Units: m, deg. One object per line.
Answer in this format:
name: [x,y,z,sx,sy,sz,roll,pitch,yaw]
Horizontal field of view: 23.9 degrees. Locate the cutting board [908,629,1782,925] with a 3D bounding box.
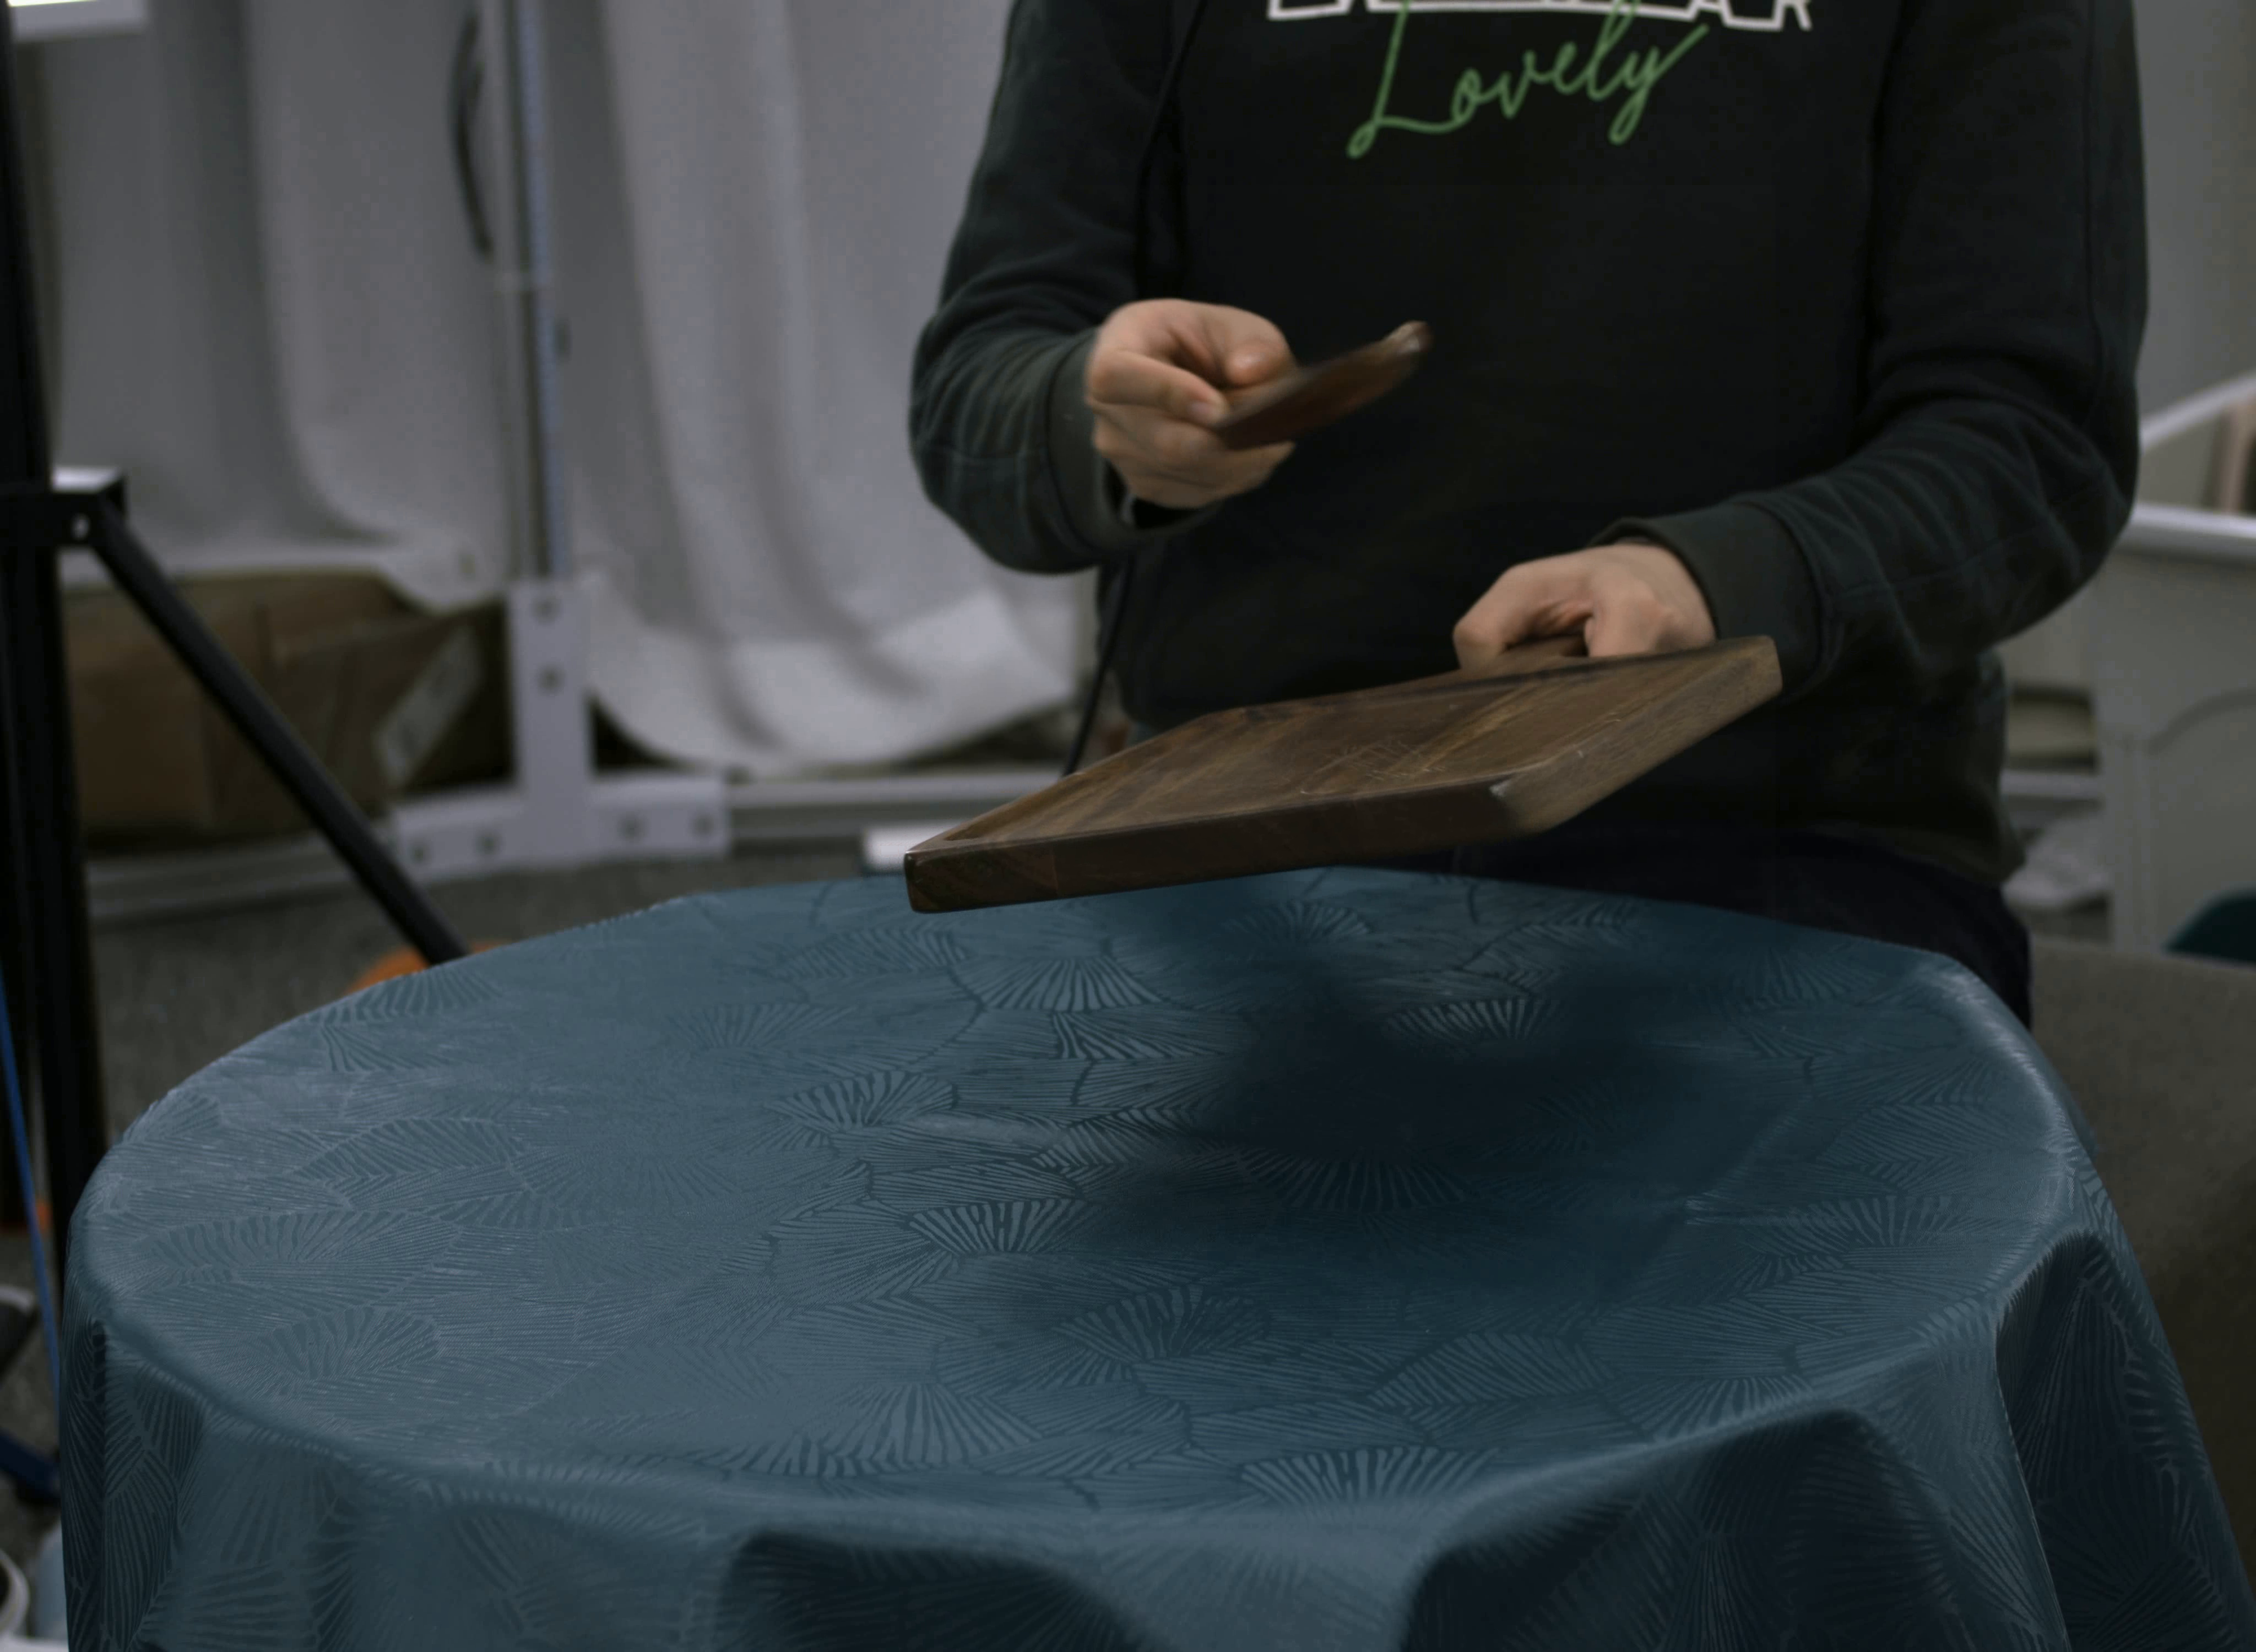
cutting board: [0.088,-0.024,1.618,0.203,0.023,0.347,-9,7,24]

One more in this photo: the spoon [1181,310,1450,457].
spoon: [0.052,-0.133,1.664,0.075,0.017,0.218,-32,9,-9]
